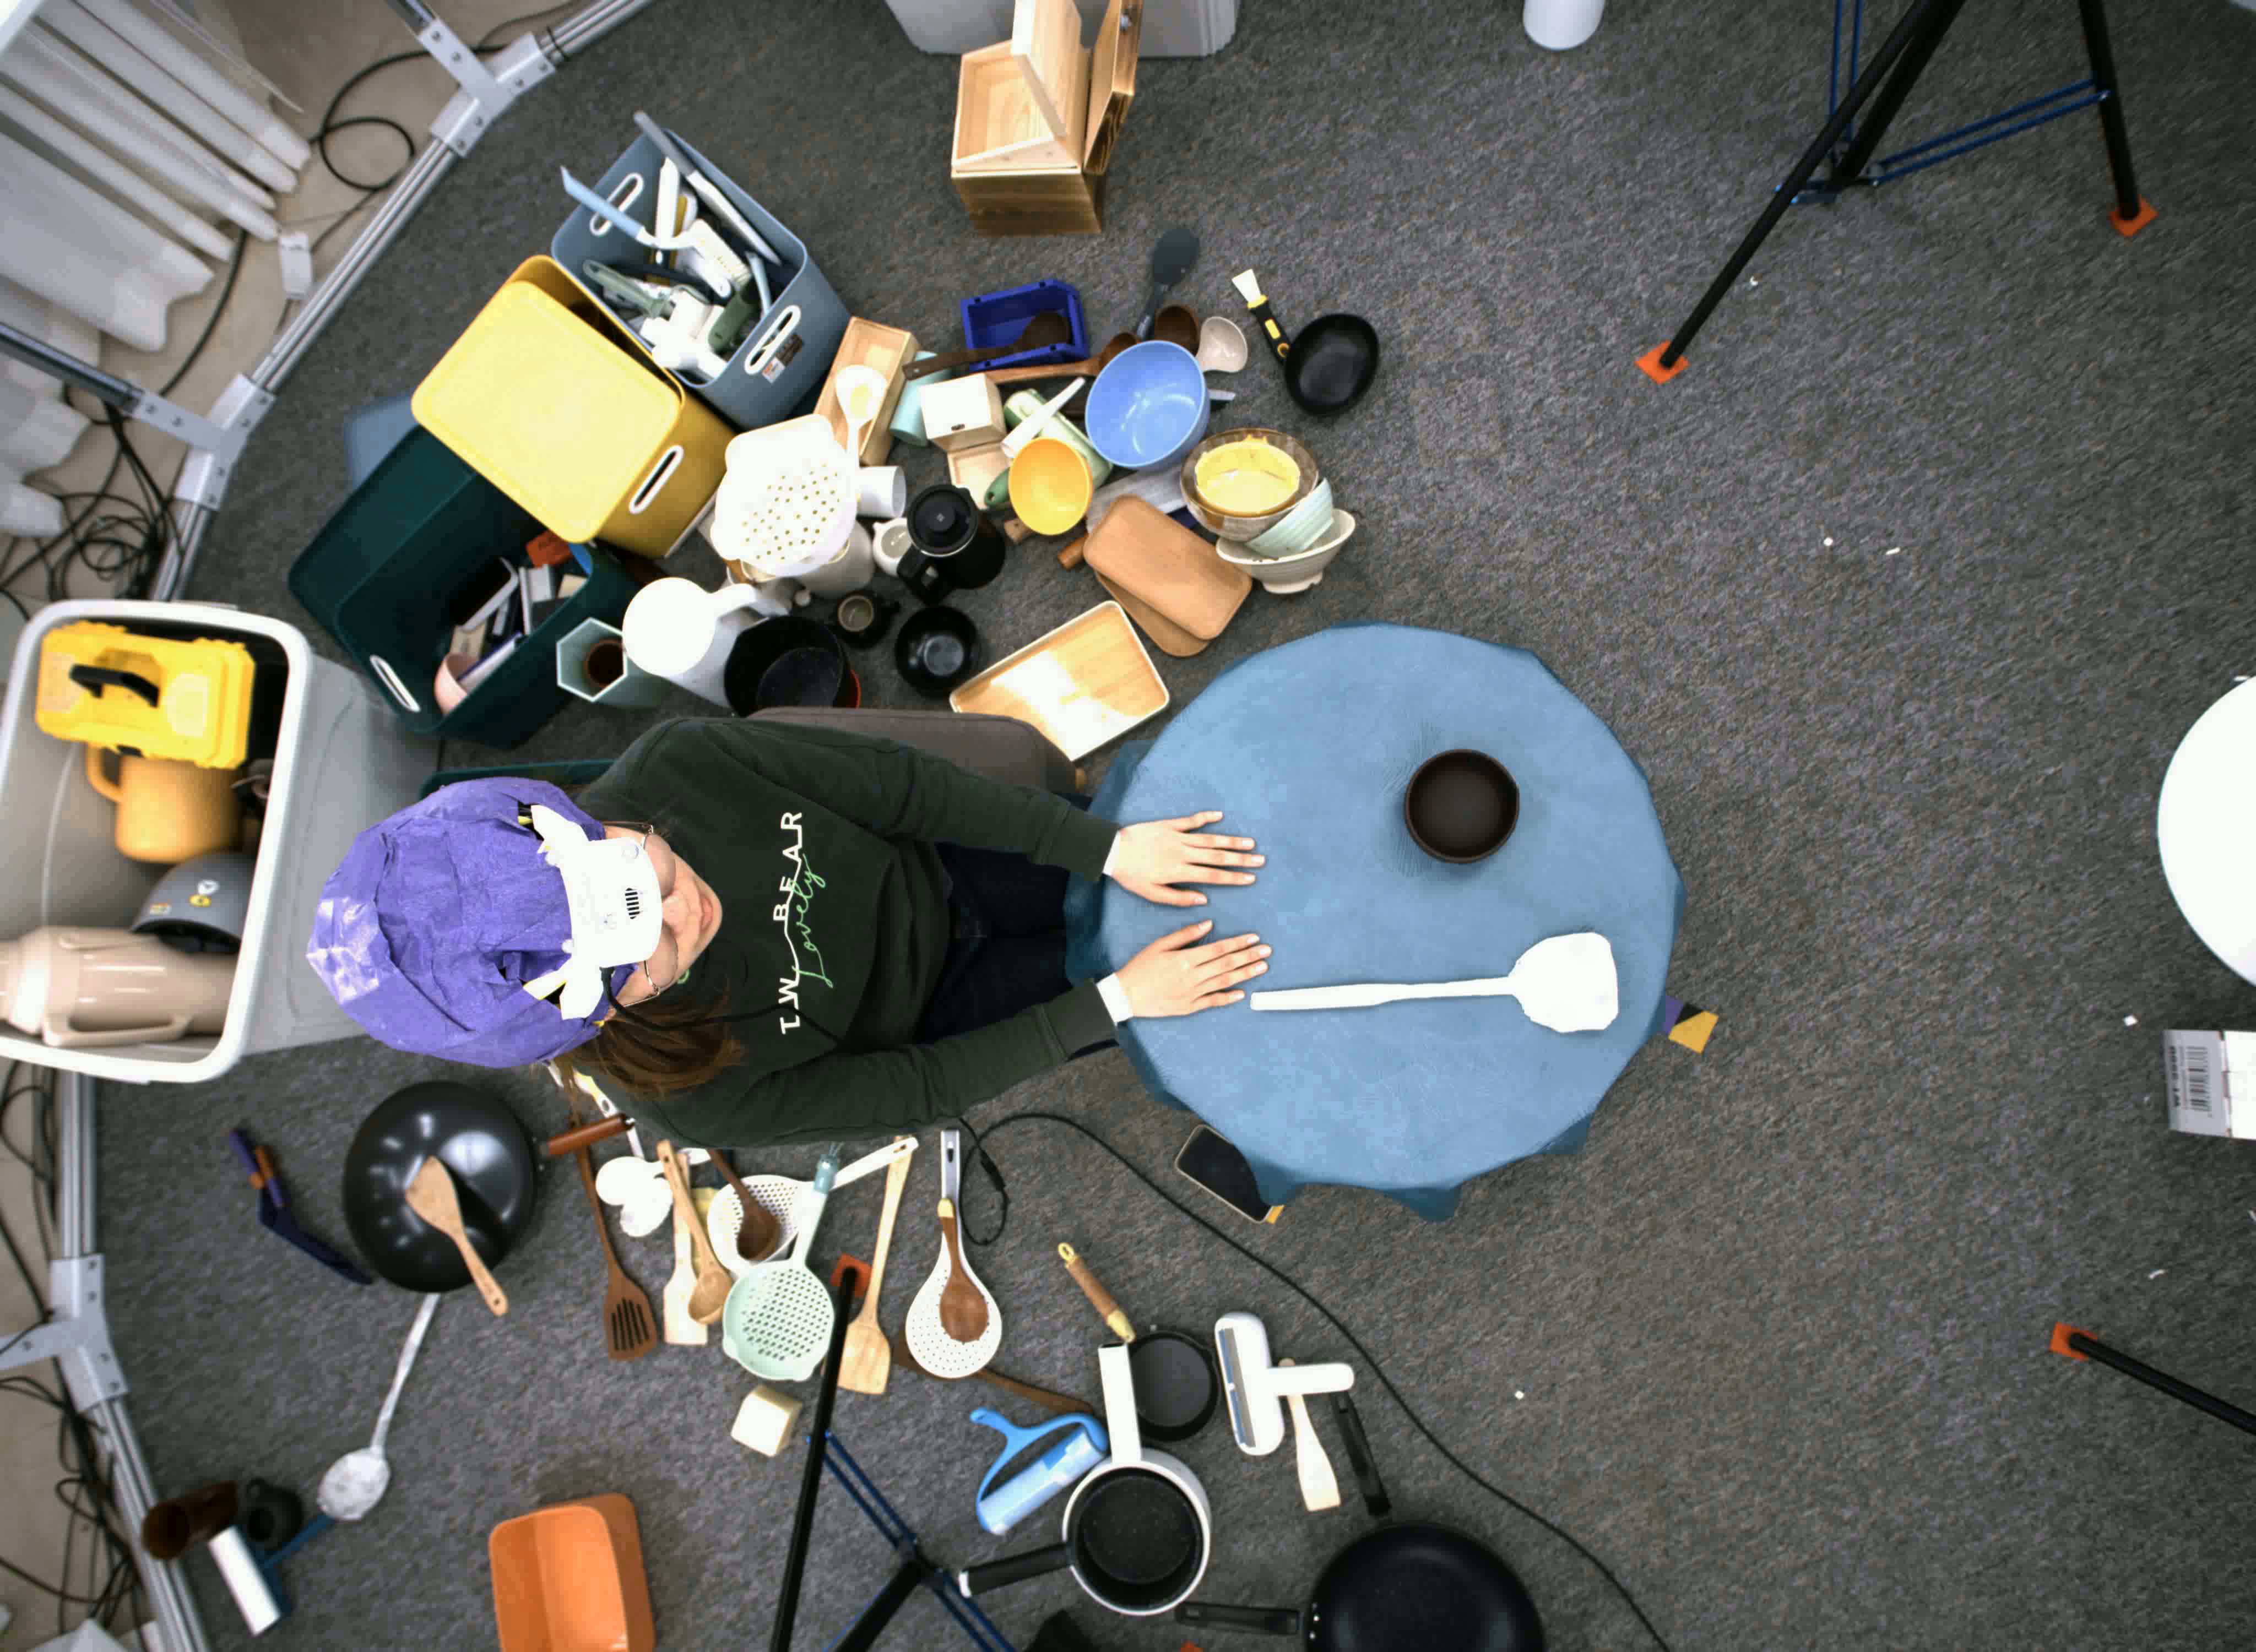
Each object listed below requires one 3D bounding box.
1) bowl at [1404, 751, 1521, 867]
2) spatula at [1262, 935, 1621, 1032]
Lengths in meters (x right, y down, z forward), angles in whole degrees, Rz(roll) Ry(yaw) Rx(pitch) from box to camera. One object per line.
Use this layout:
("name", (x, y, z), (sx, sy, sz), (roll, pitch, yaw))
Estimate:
("bowl", (0.344, -0.016, 1.421), (0.118, 0.070, 0.117), (-1, 83, 11))
("spatula", (0.319, 0.167, 1.430), (0.366, 0.045, 0.098), (-4, 87, 10))
